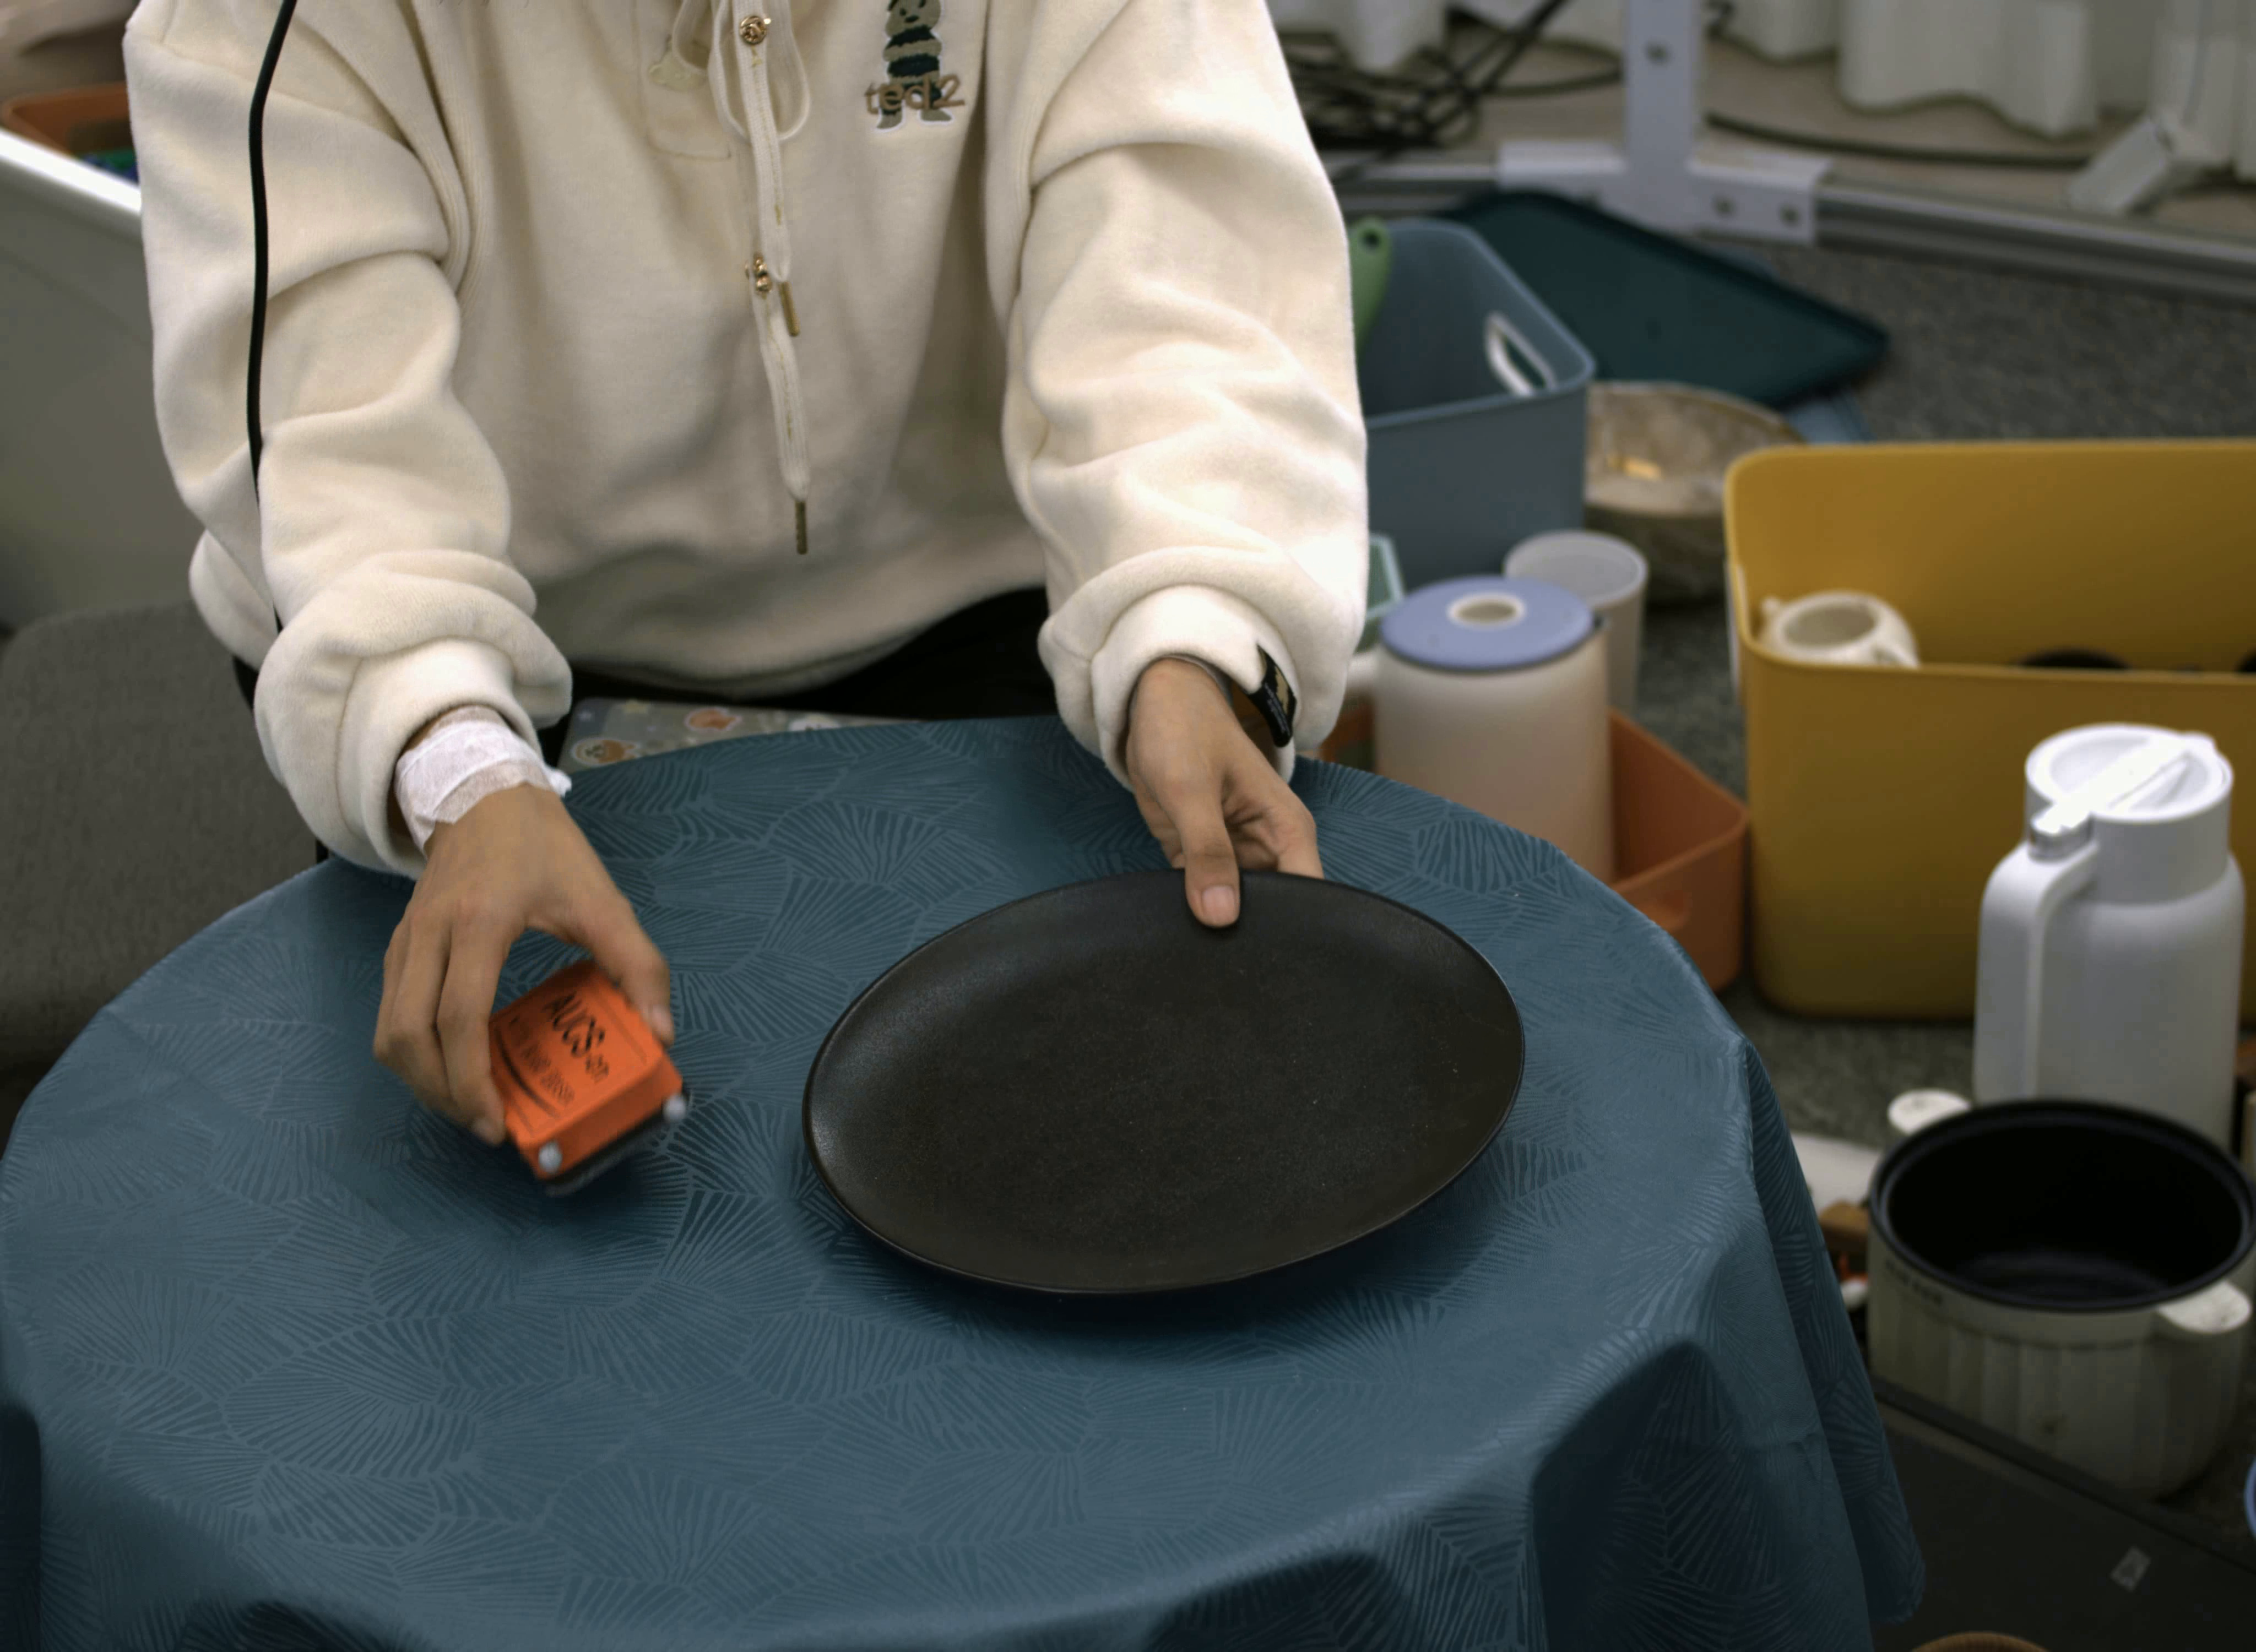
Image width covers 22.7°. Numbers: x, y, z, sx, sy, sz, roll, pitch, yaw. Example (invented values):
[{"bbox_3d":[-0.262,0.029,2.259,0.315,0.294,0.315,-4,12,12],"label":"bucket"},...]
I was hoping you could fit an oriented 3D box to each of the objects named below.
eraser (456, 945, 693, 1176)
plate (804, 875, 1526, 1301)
[{"bbox_3d":[-0.187,0.079,1.896,0.059,0.023,0.108,-34,26,-8],"label":"eraser"},{"bbox_3d":[0.013,0.090,1.878,0.243,0.023,0.248,-5,31,3],"label":"plate"}]
